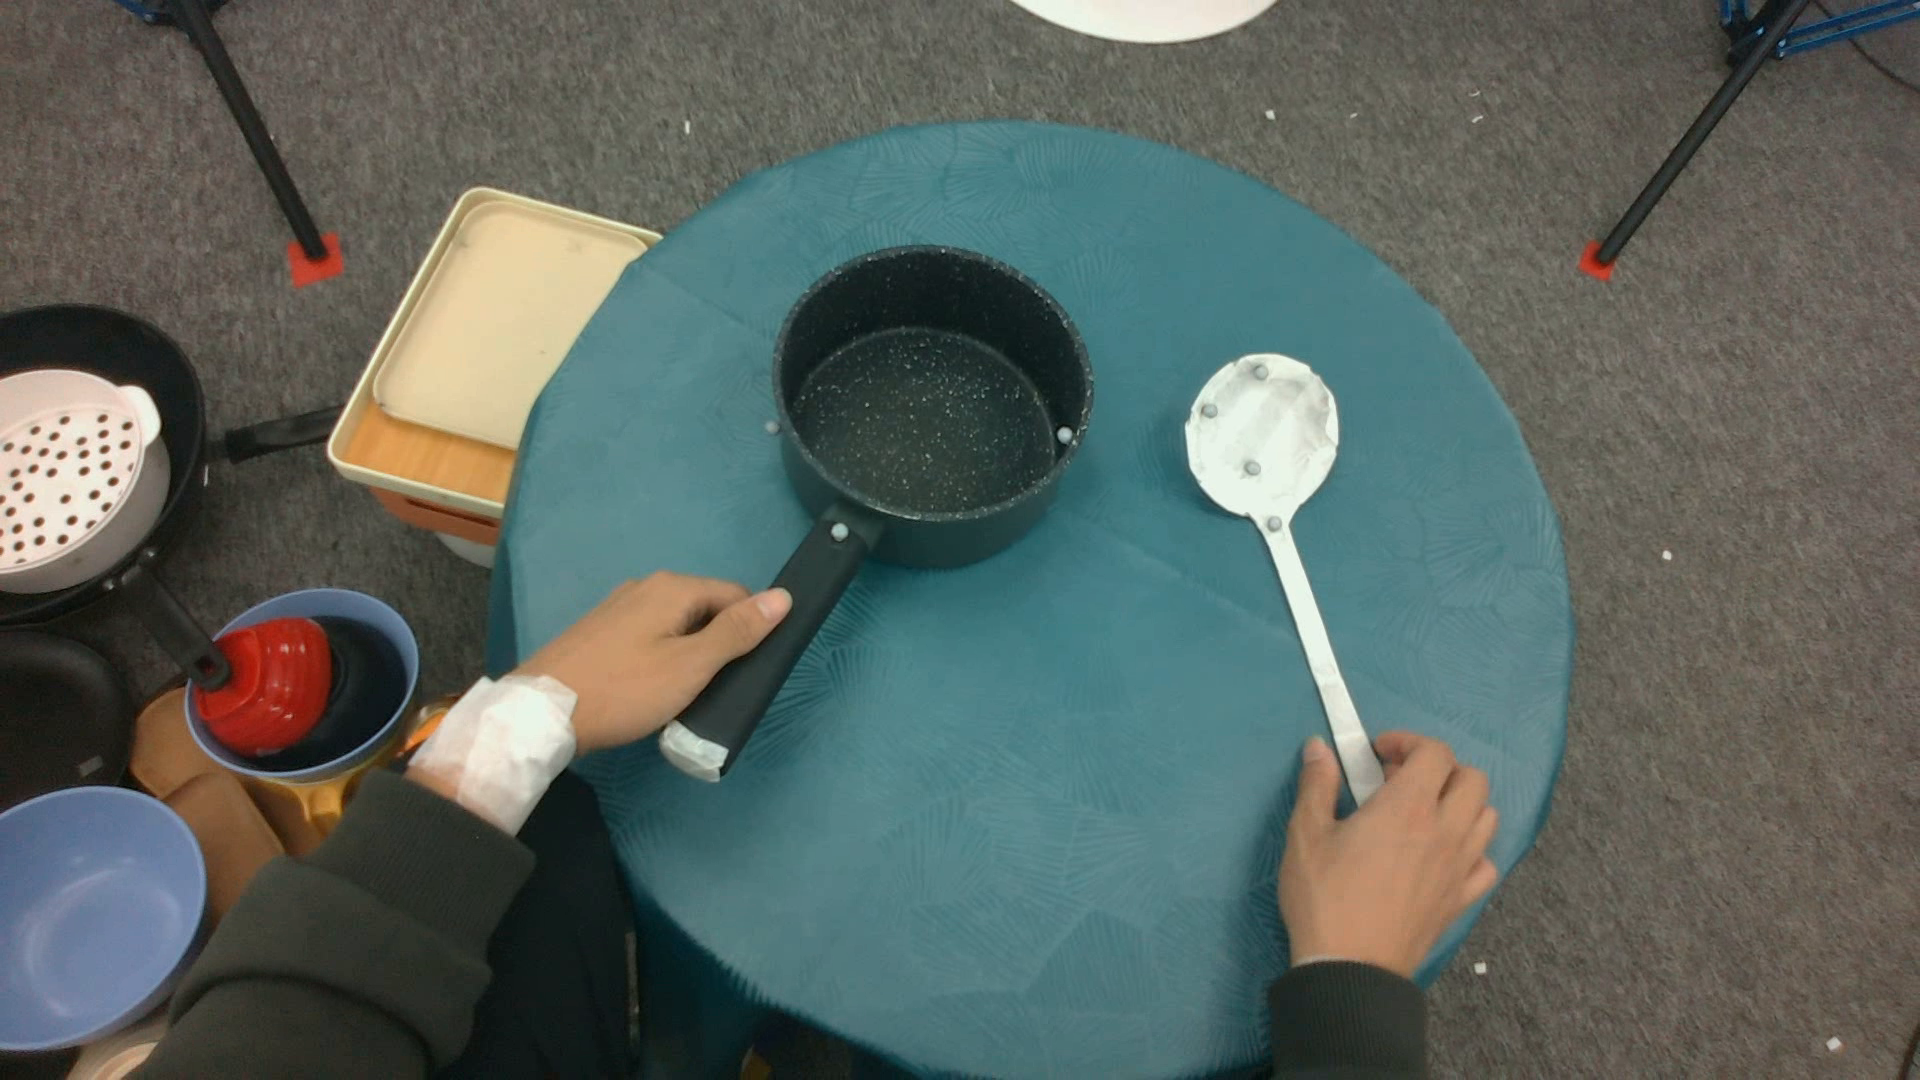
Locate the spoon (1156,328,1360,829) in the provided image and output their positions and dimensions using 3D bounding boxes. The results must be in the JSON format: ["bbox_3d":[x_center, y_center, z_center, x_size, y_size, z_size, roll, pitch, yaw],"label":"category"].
[{"bbox_3d":[0.175,0.016,0.749,0.101,0.059,0.278,-7,66,-9],"label":"spoon"}]

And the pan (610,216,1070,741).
[{"bbox_3d":[-0.068,-0.026,0.719,0.172,0.086,0.330,29,63,7],"label":"pan"}]
